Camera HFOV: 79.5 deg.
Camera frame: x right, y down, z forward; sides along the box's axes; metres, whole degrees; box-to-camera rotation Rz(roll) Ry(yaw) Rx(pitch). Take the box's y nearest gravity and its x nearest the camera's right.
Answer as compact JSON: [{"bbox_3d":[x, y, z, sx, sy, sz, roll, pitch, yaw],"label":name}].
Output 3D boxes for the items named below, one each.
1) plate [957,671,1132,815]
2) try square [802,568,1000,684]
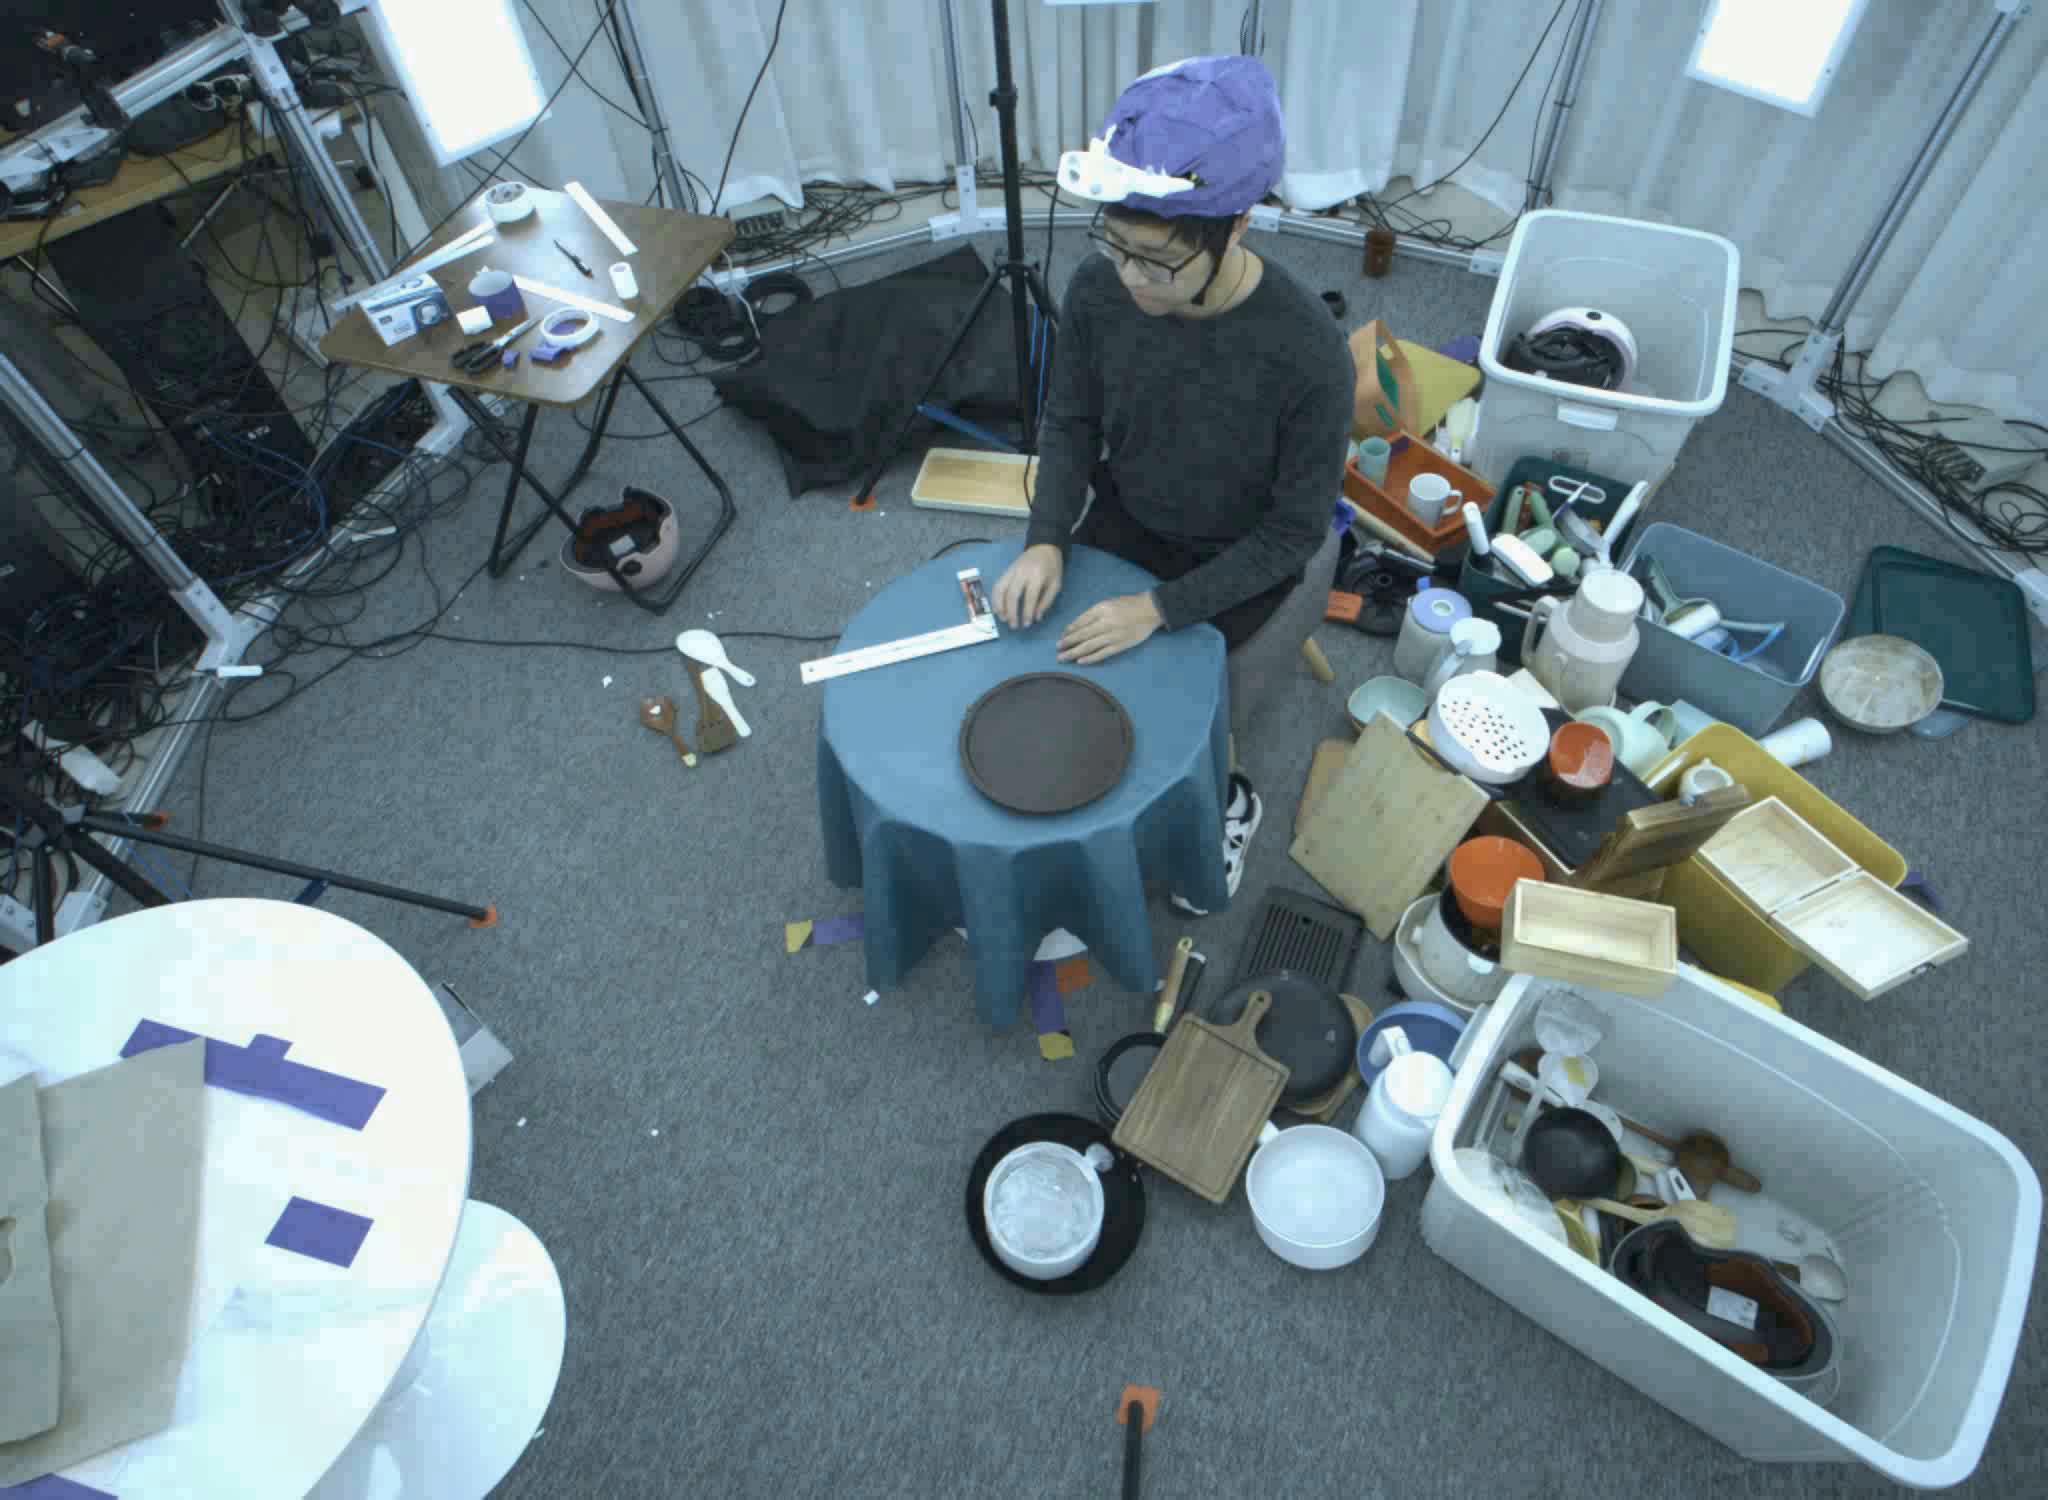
[{"bbox_3d":[0.030,-0.012,1.781,0.254,0.029,0.252,-1,55,3],"label":"plate"},{"bbox_3d":[-0.203,-0.197,1.930,0.314,0.016,0.150,-14,54,-6],"label":"try square"}]
